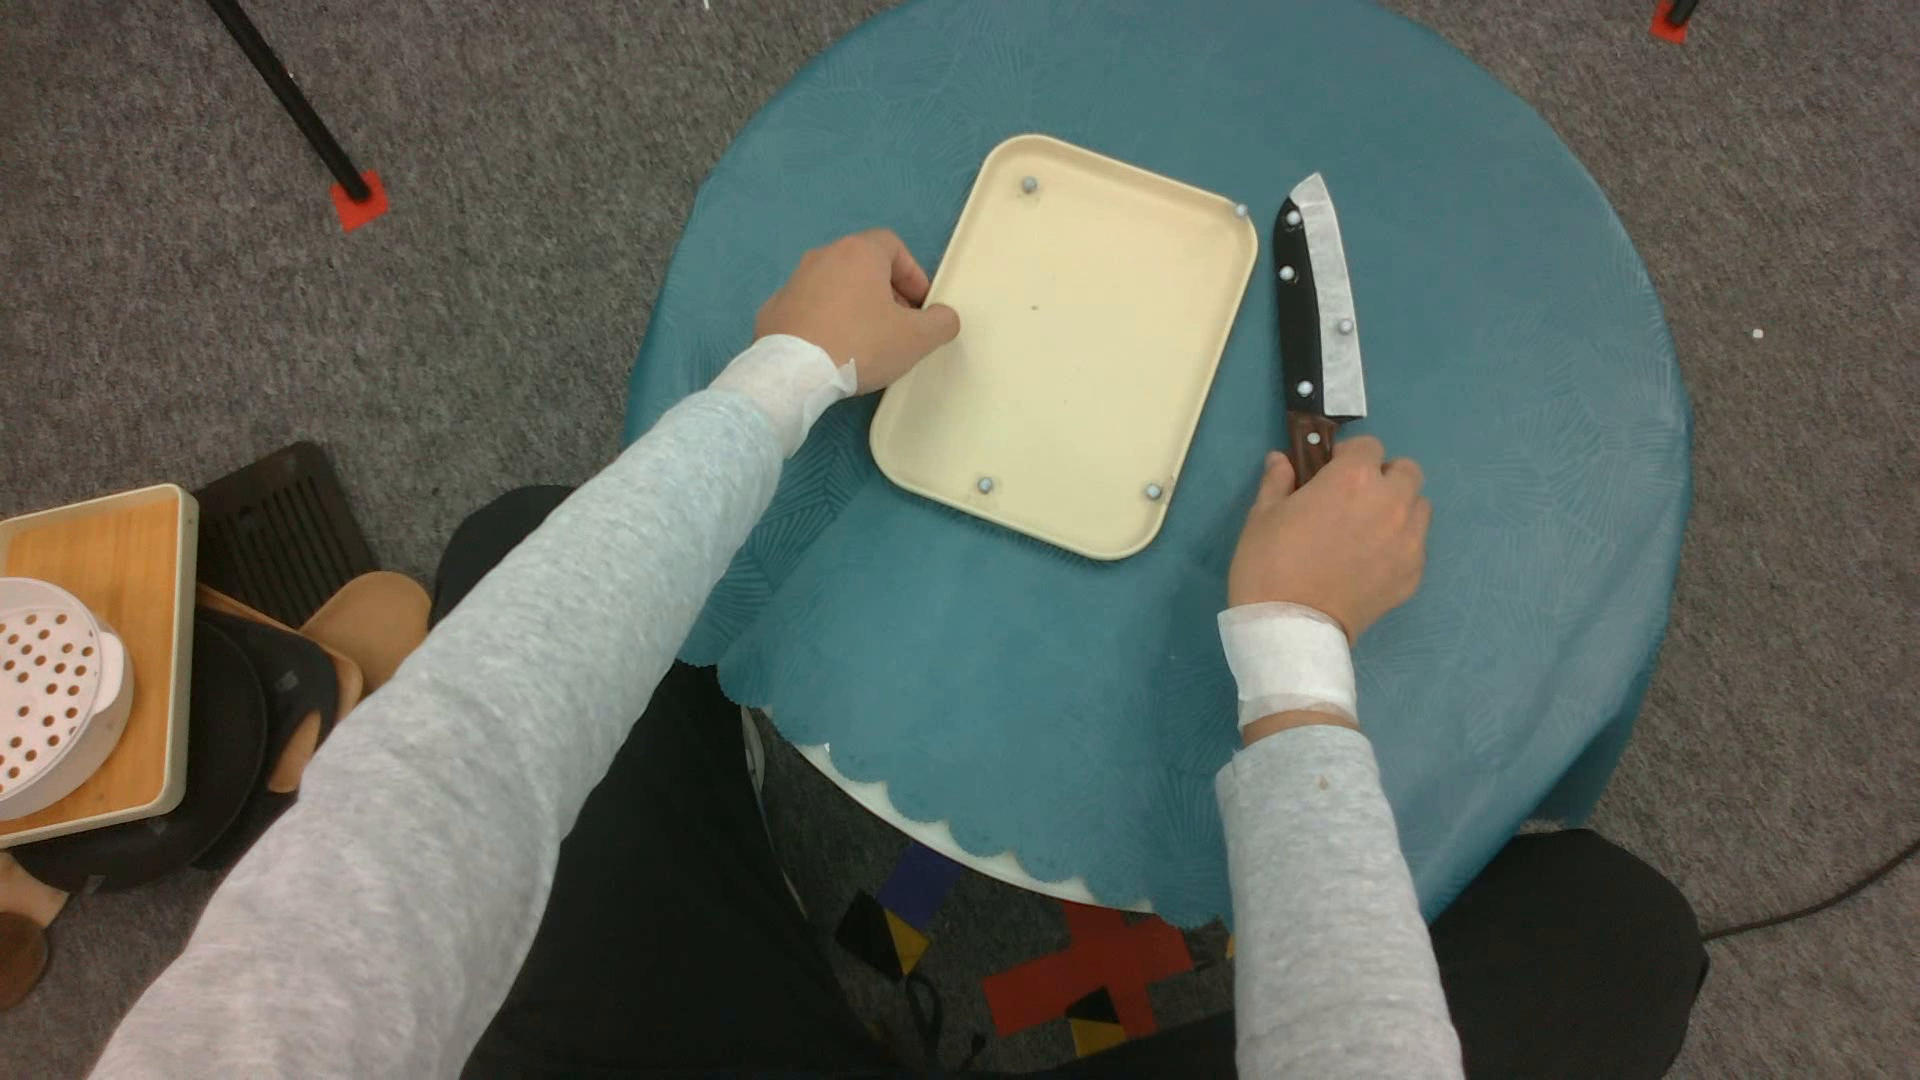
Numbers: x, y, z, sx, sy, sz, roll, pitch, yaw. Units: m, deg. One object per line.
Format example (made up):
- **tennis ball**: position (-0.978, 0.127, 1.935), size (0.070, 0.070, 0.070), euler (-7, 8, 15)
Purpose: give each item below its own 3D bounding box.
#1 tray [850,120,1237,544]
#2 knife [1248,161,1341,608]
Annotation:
- **tray**: position (0.051, -0.122, 0.787), size (0.171, 0.017, 0.240), euler (21, 72, 4)
- **knife**: position (0.192, -0.098, 0.784), size (0.050, 0.020, 0.290), euler (3, 67, -1)
